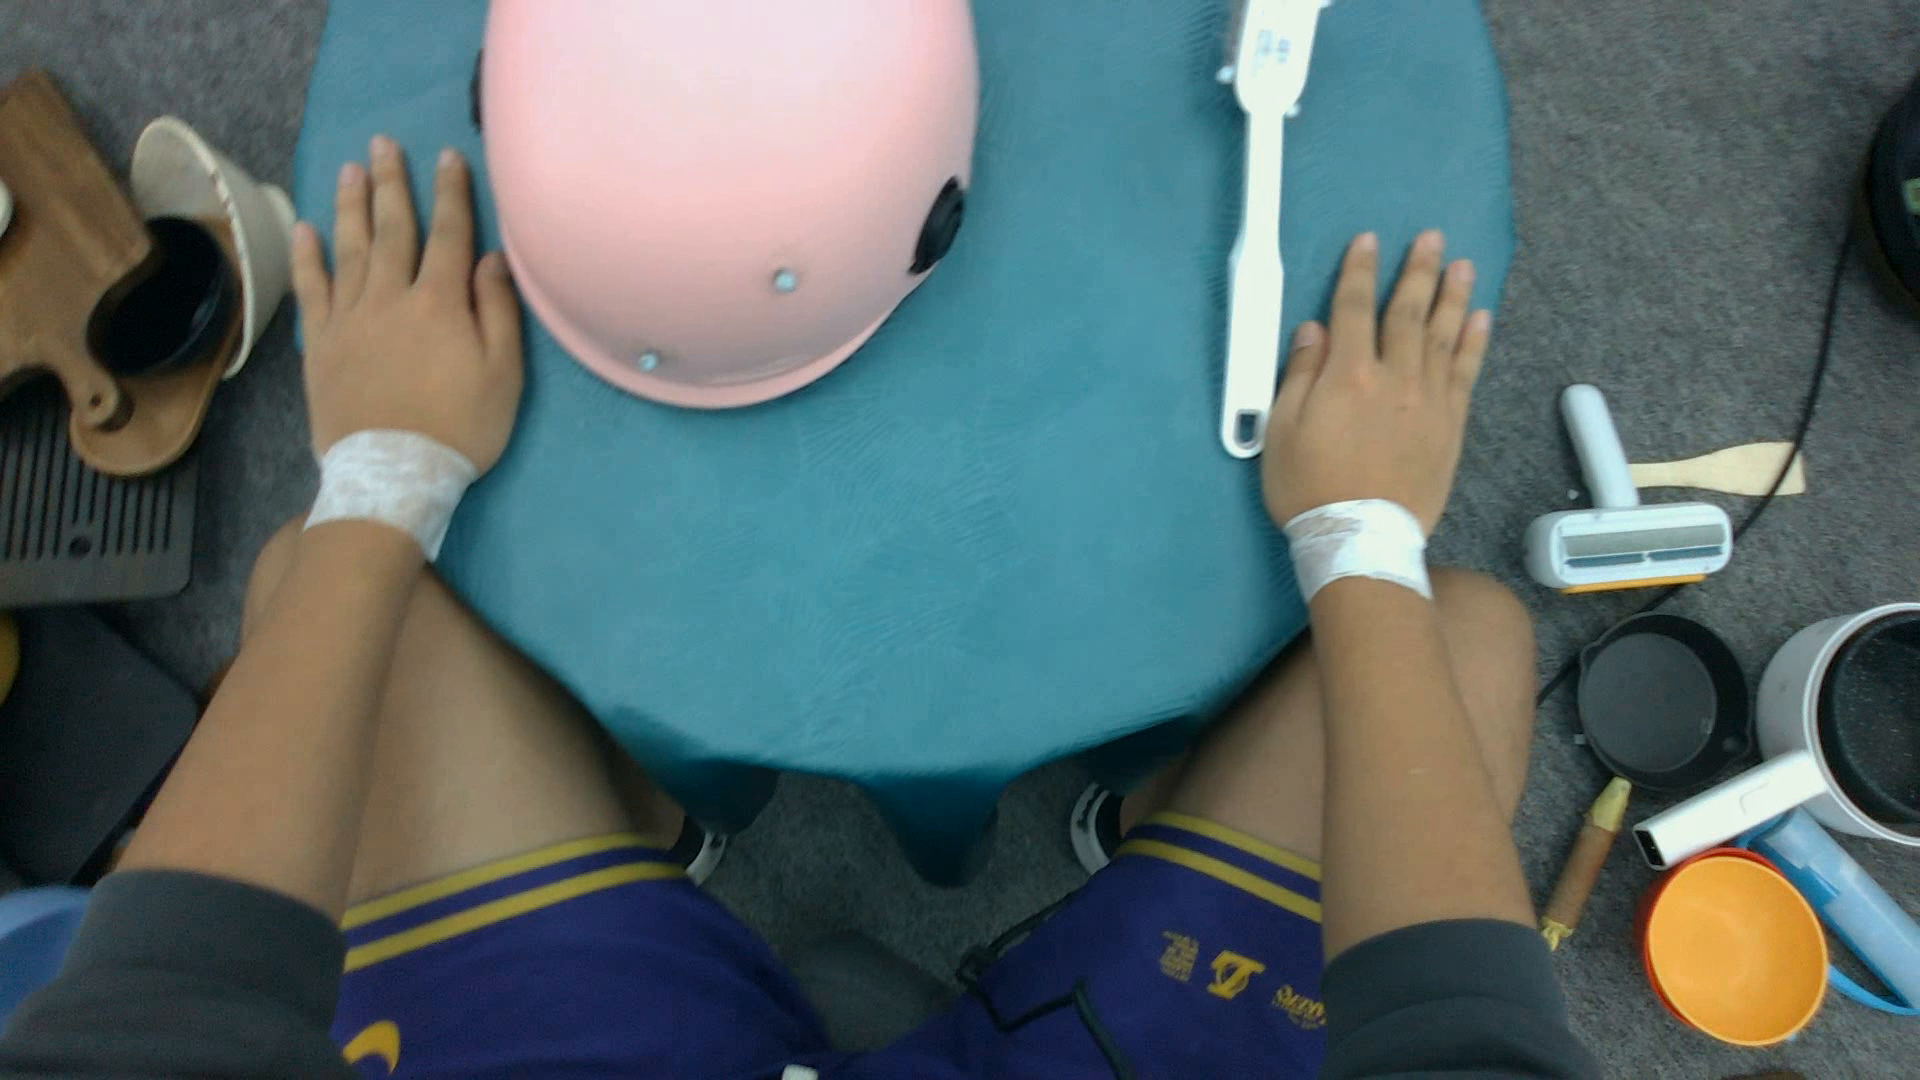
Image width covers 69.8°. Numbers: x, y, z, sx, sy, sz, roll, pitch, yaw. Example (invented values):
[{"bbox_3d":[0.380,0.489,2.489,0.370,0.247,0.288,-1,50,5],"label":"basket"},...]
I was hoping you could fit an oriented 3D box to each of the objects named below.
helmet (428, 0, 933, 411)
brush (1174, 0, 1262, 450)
[{"bbox_3d":[-0.123,-0.198,0.604,0.234,0.158,0.266,13,85,-3],"label":"helmet"},{"bbox_3d":[0.127,-0.167,0.685,0.034,0.050,0.243,-1,95,-8],"label":"brush"}]
